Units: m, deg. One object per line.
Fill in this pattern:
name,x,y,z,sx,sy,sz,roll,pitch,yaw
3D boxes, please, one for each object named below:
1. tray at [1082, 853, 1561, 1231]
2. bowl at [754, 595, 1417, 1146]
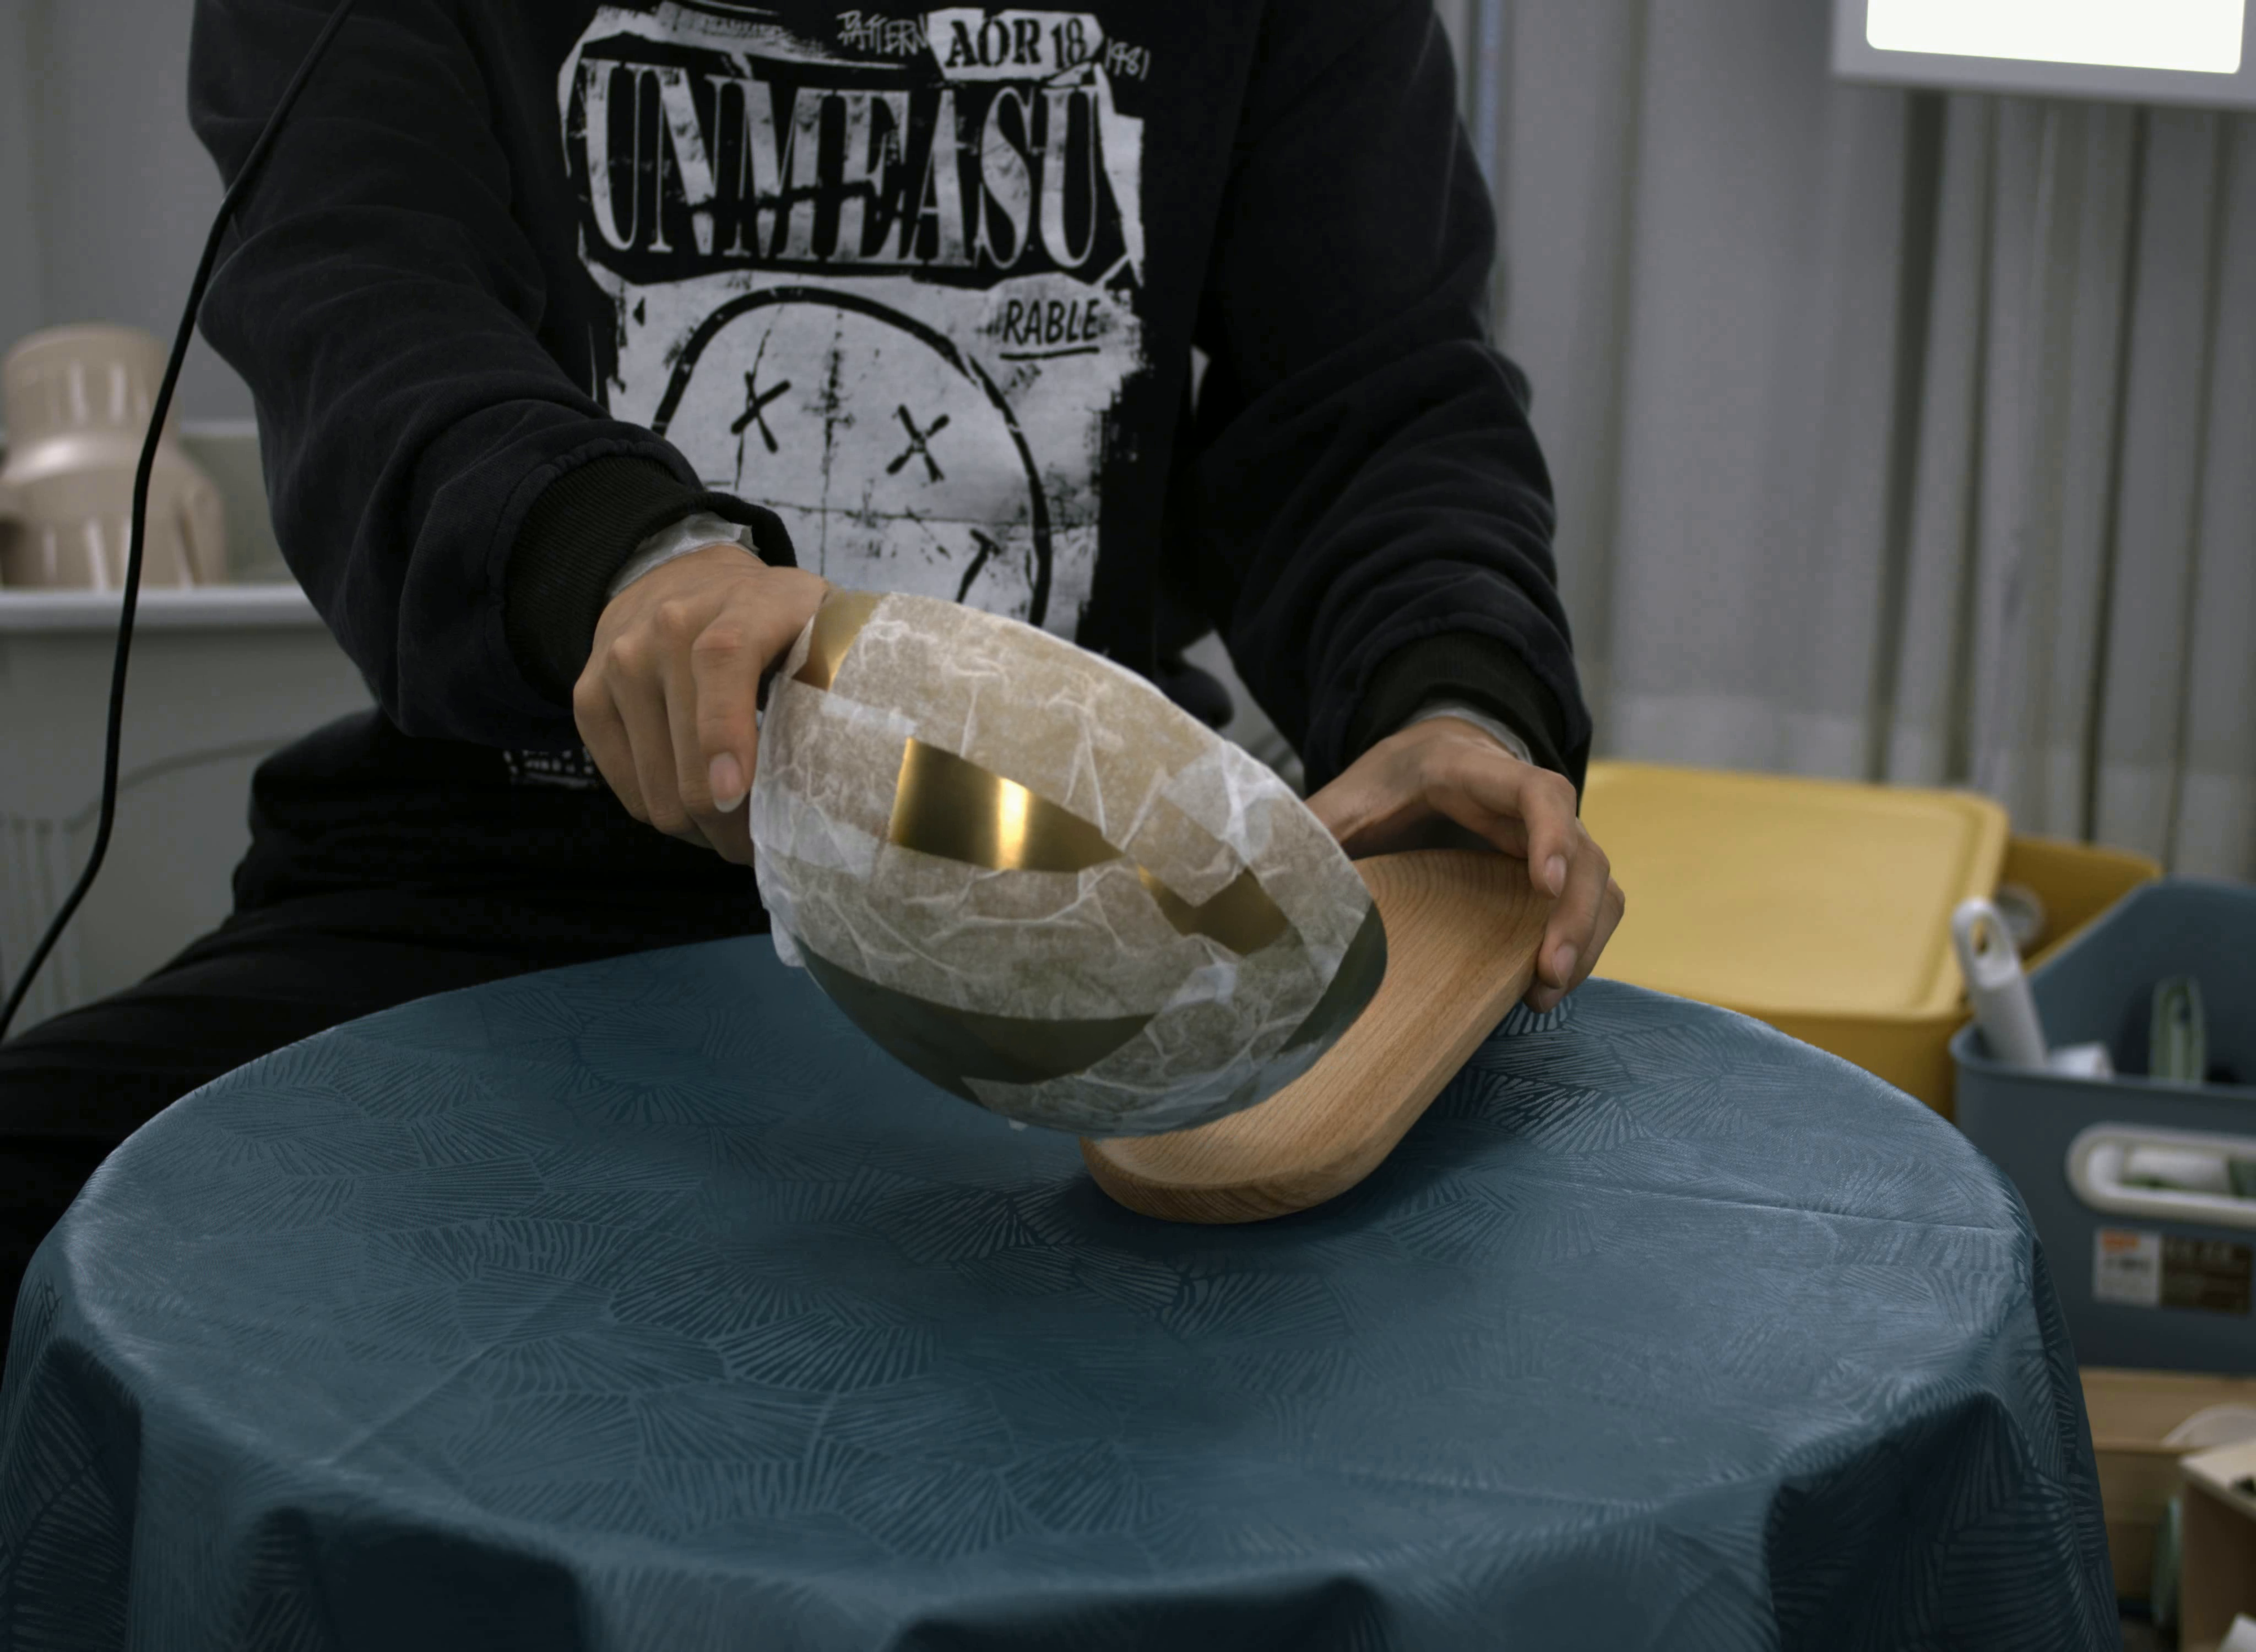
tray,0.065,0.066,1.679,0.100,0.020,0.231,3,29,27
bowl,-0.030,0.032,1.536,0.212,0.218,0.094,14,63,37
